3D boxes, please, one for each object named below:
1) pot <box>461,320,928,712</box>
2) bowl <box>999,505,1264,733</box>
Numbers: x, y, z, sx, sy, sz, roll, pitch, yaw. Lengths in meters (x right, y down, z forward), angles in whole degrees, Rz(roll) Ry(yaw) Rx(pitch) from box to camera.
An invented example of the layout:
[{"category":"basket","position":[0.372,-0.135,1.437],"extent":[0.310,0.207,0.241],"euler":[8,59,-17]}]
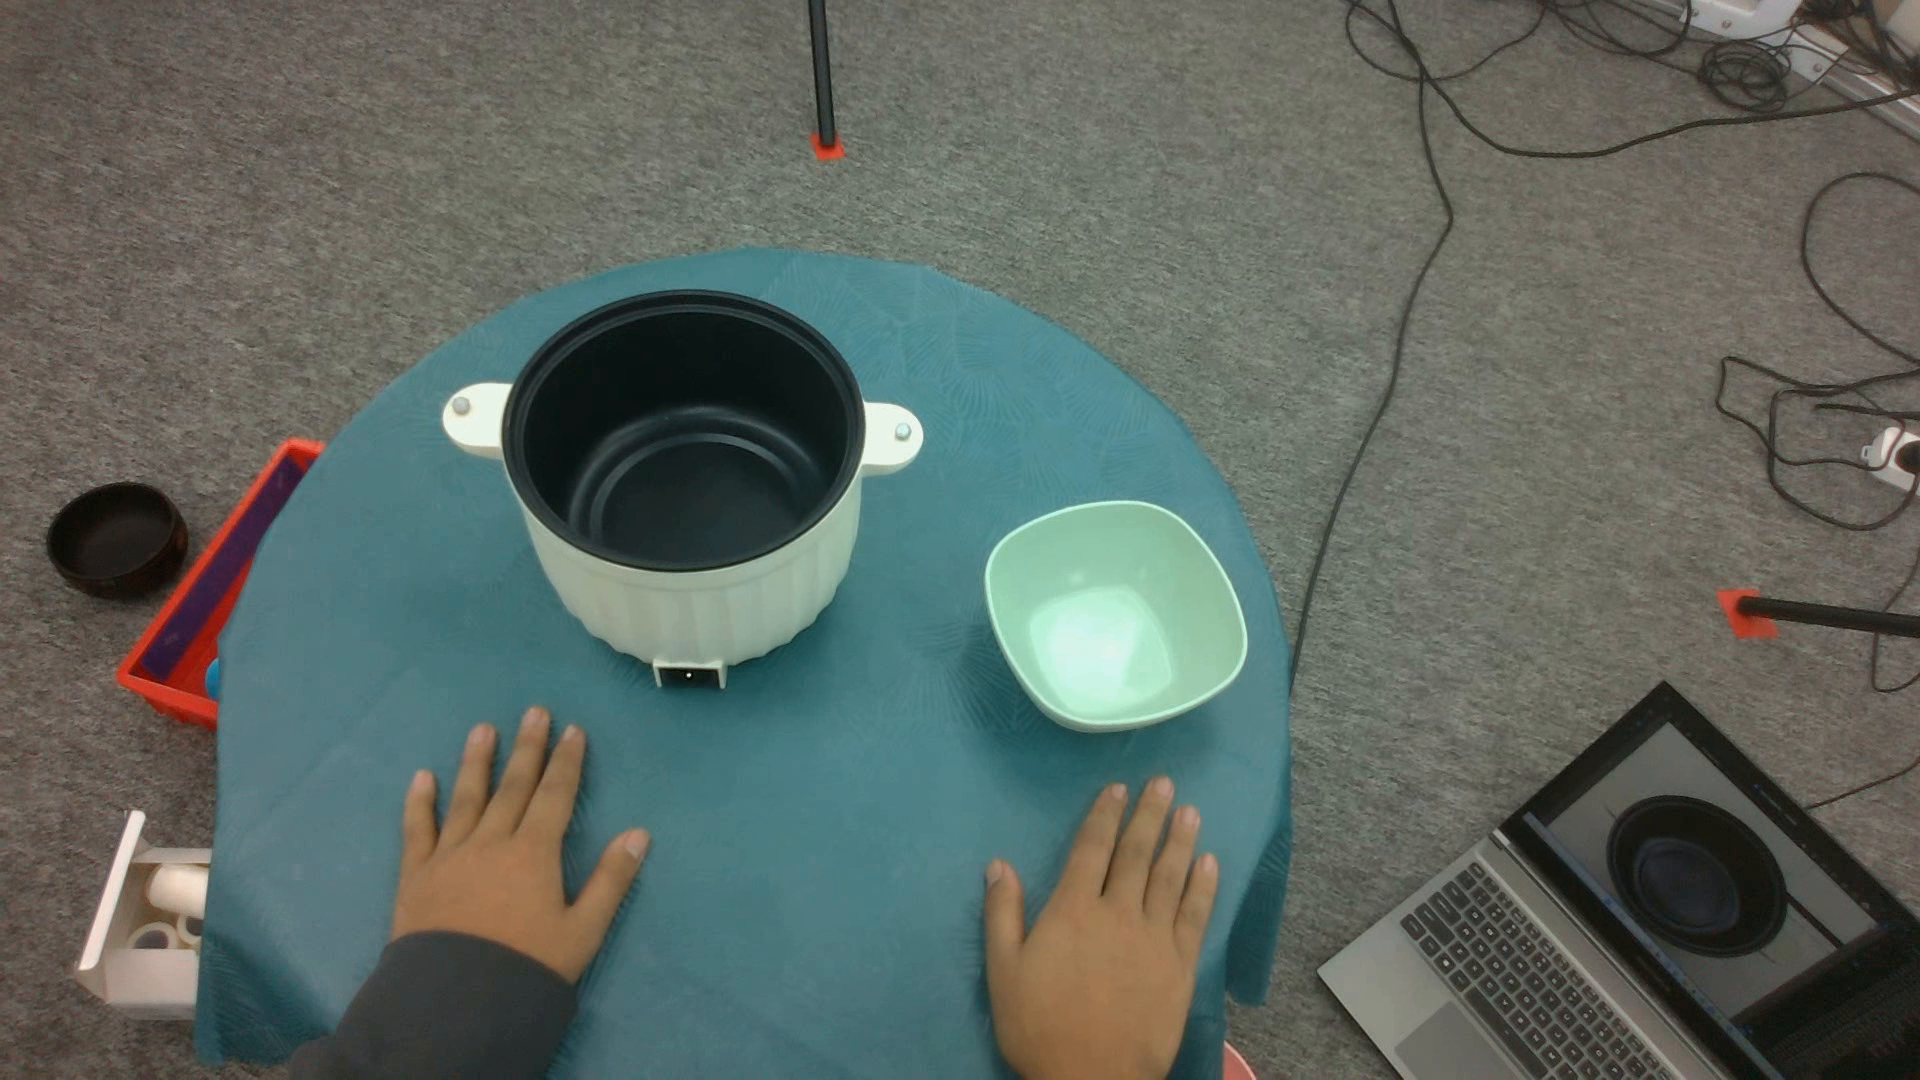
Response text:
[{"category":"pot","position":[-0.141,-0.015,0.772],"extent":[0.240,0.142,0.191],"euler":[-1,59,-6]},{"category":"bowl","position":[0.094,0.054,0.789],"extent":[0.151,0.058,0.152],"euler":[1,54,-2]}]
